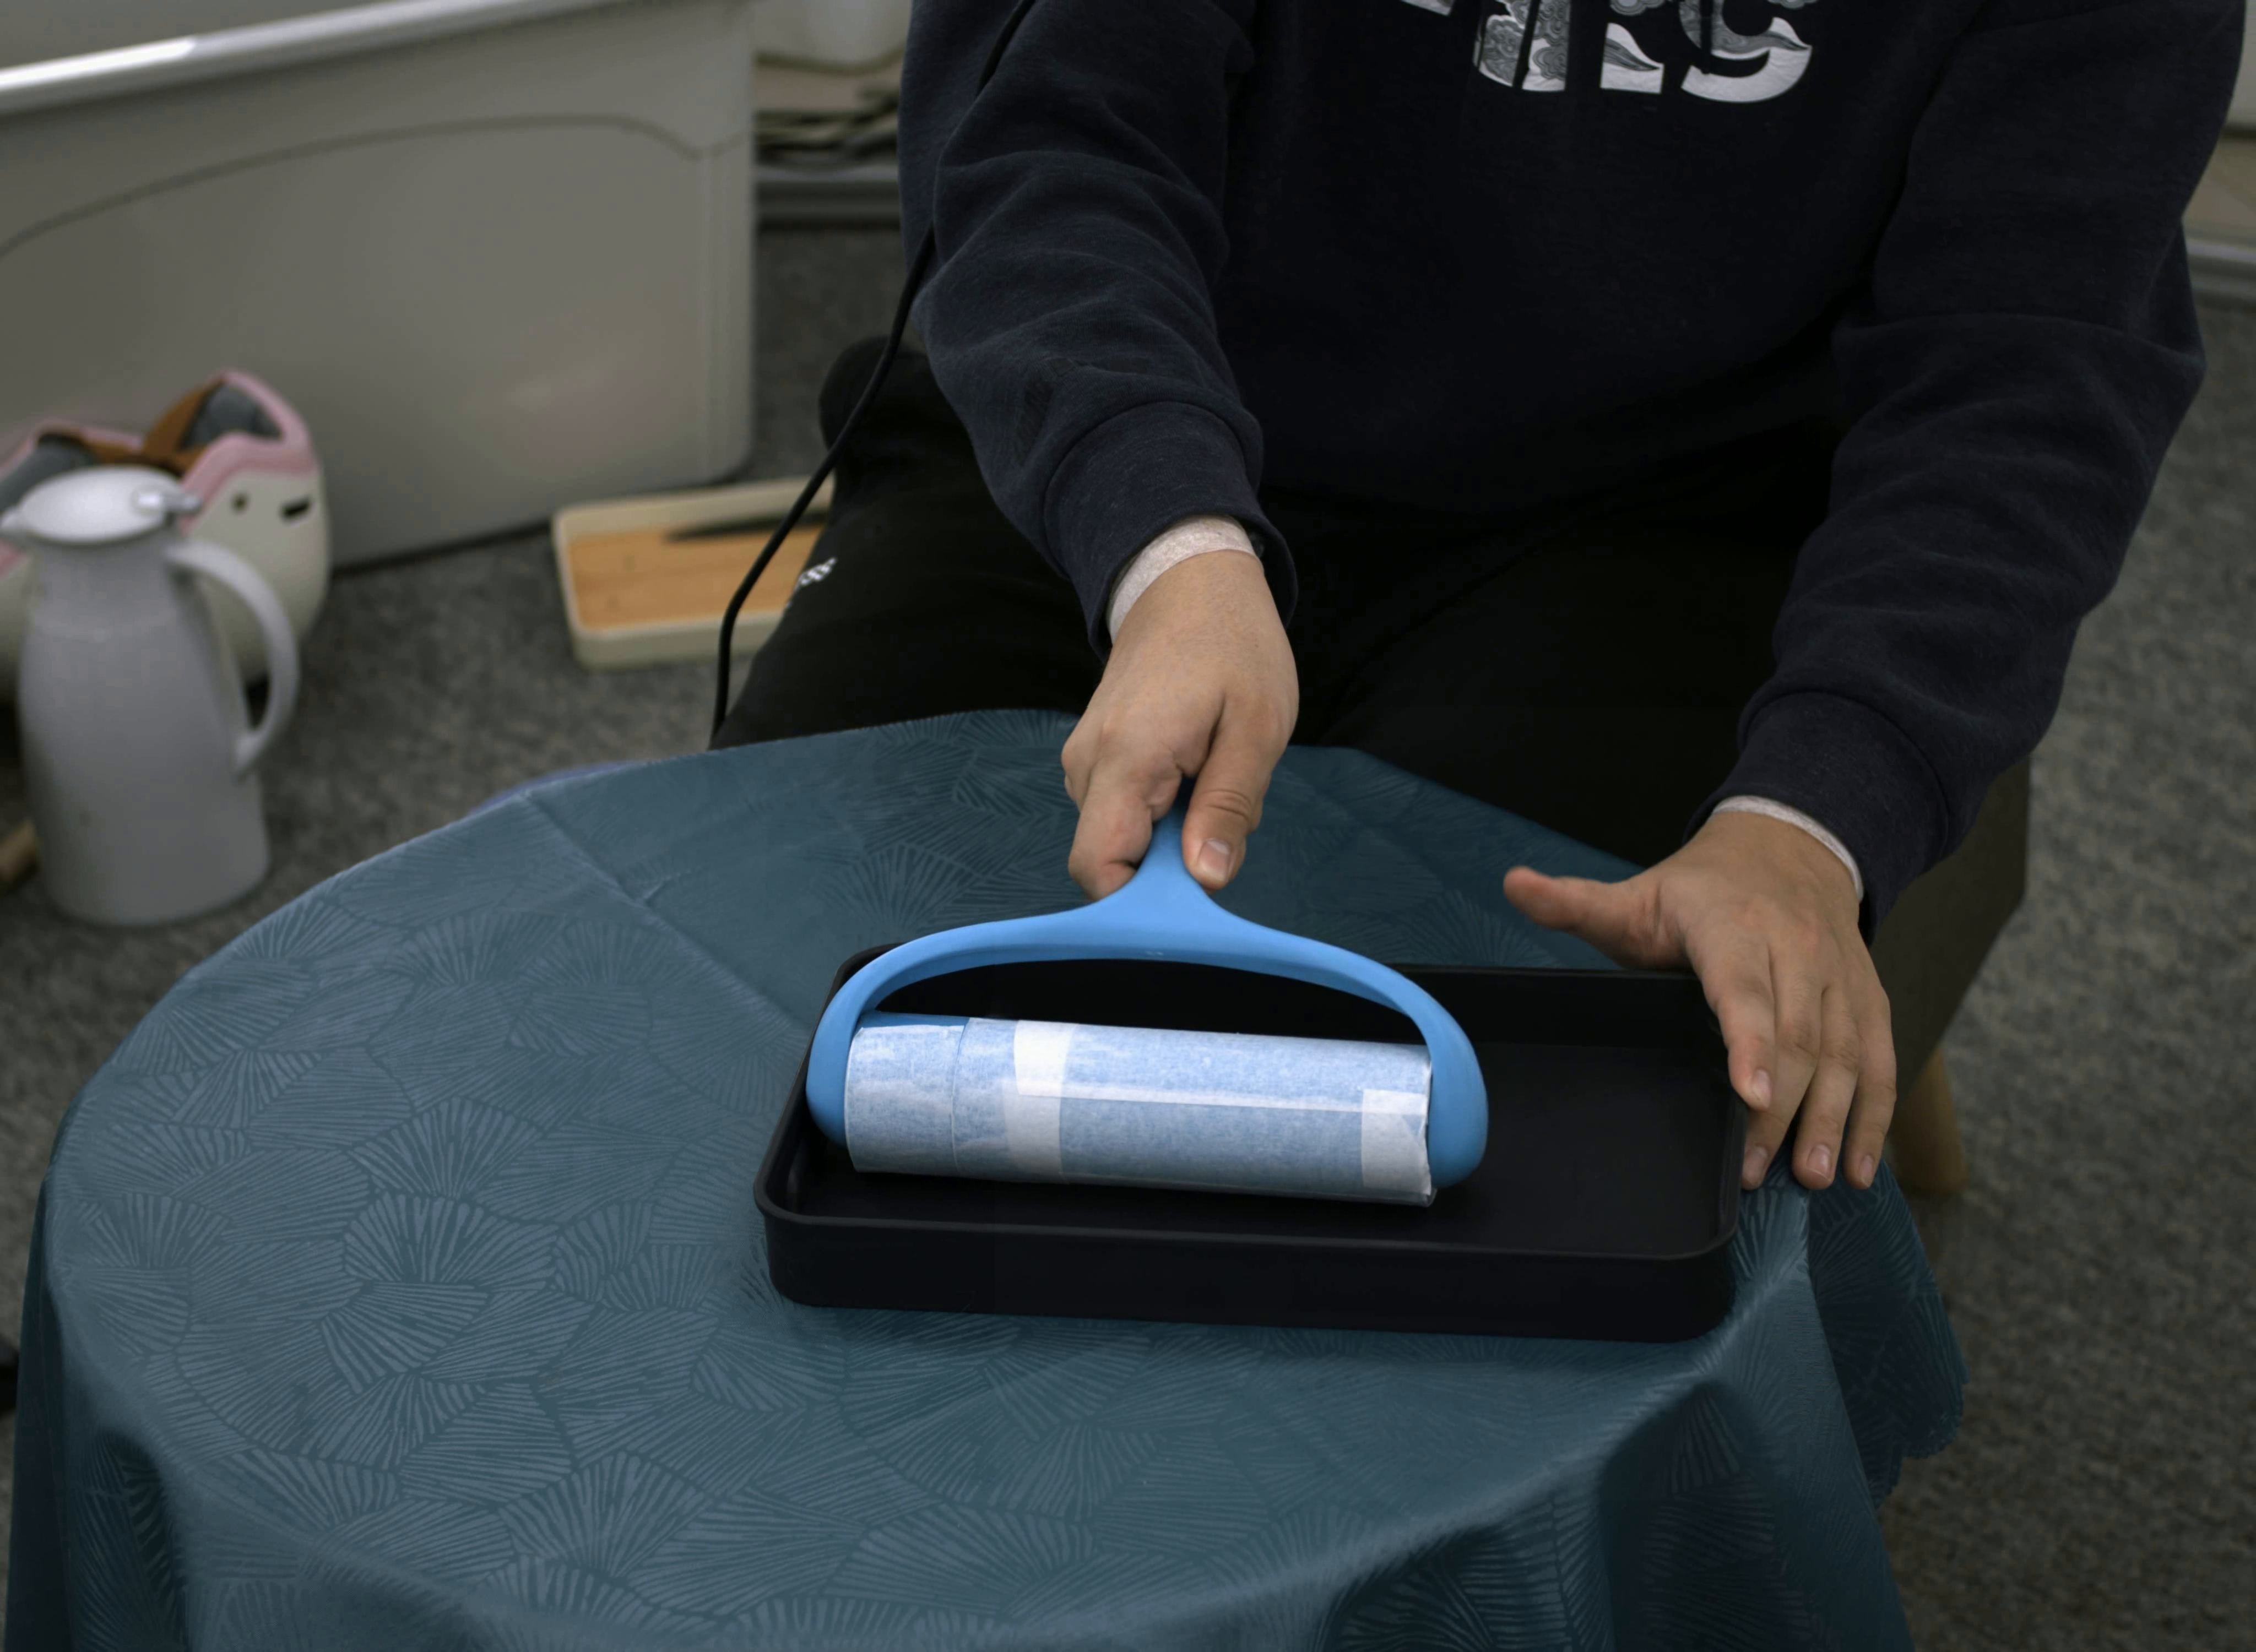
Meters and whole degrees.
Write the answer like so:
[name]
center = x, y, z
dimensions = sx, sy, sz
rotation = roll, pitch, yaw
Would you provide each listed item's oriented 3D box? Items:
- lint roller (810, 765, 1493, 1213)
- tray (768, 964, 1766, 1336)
[lint roller]
center = 0.013, 0.042, 1.883
dimensions = 0.227, 0.067, 0.184
rotation = 1, 58, 10
[tray]
center = 0.050, 0.106, 1.860
dimensions = 0.316, 0.036, 0.187
rotation = -1, 27, 8
